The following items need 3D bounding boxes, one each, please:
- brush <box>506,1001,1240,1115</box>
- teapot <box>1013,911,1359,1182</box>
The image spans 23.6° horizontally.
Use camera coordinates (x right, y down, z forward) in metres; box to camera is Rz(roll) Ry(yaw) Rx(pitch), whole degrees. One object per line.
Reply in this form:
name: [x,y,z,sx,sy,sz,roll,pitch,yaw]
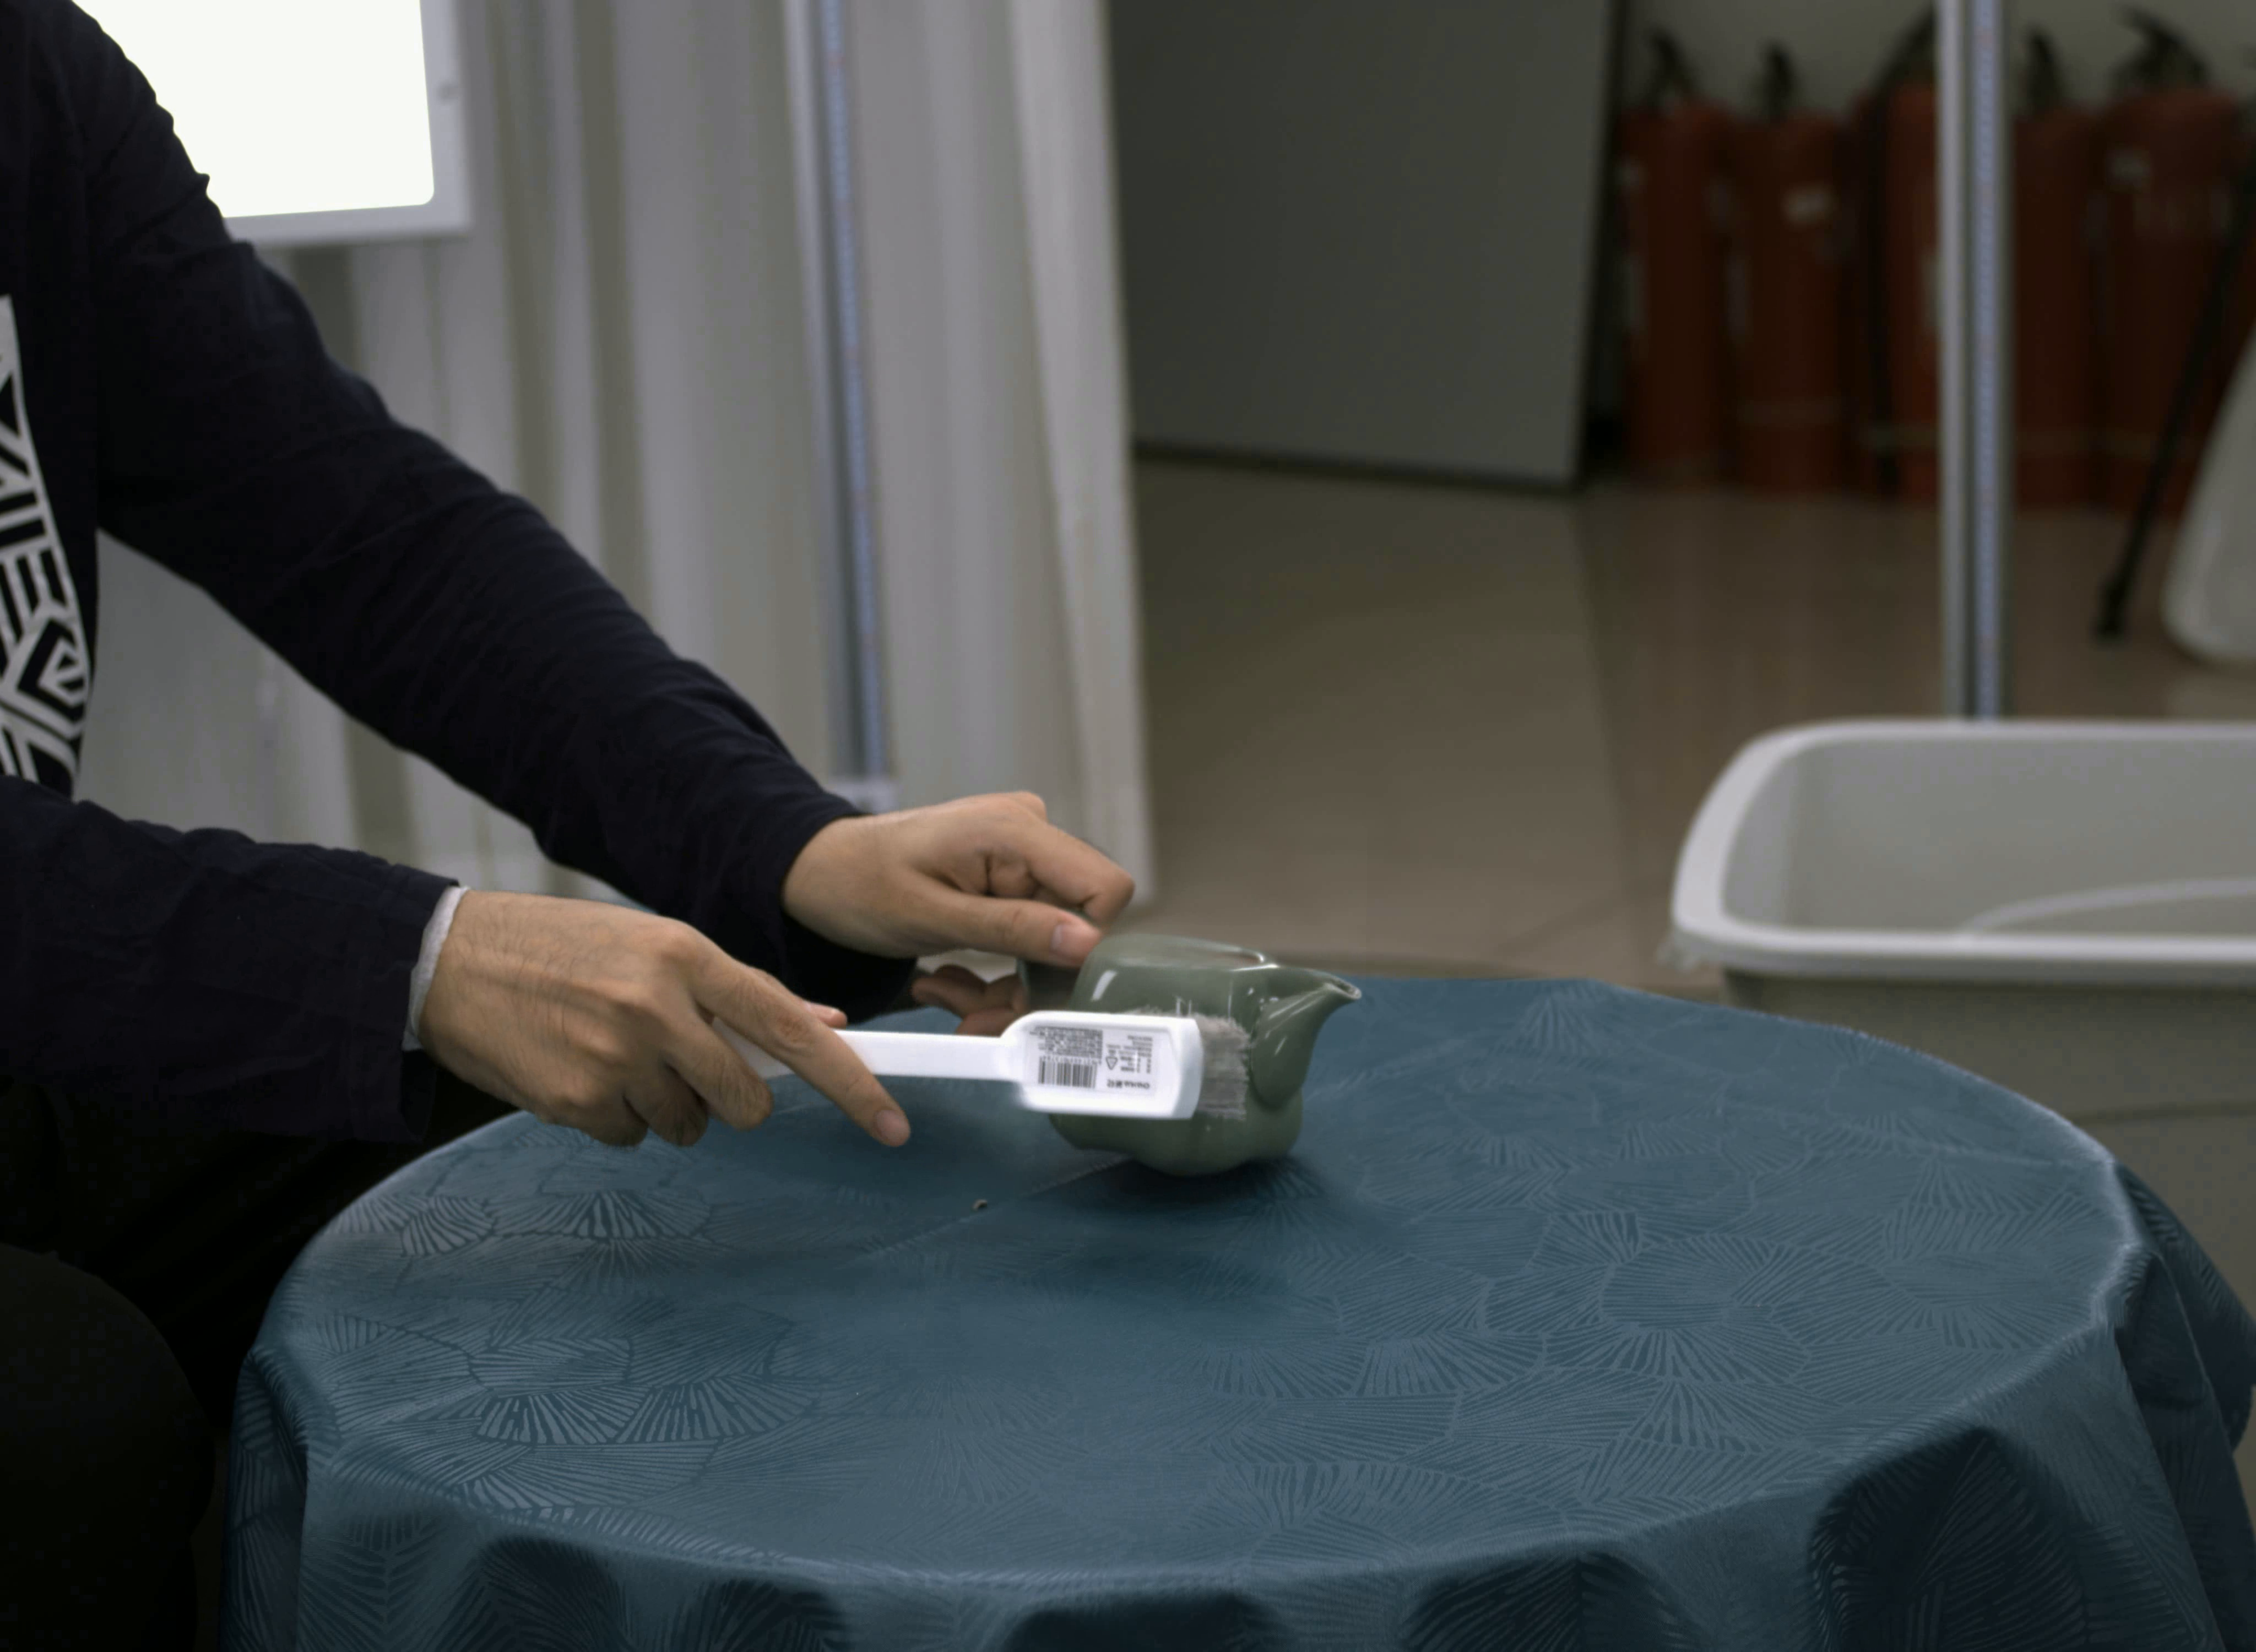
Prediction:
brush: [-0.081,0.077,1.735,0.243,0.035,0.049,-2,0,19]
teapot: [0.016,0.074,1.785,0.133,0.076,0.078,11,8,32]
